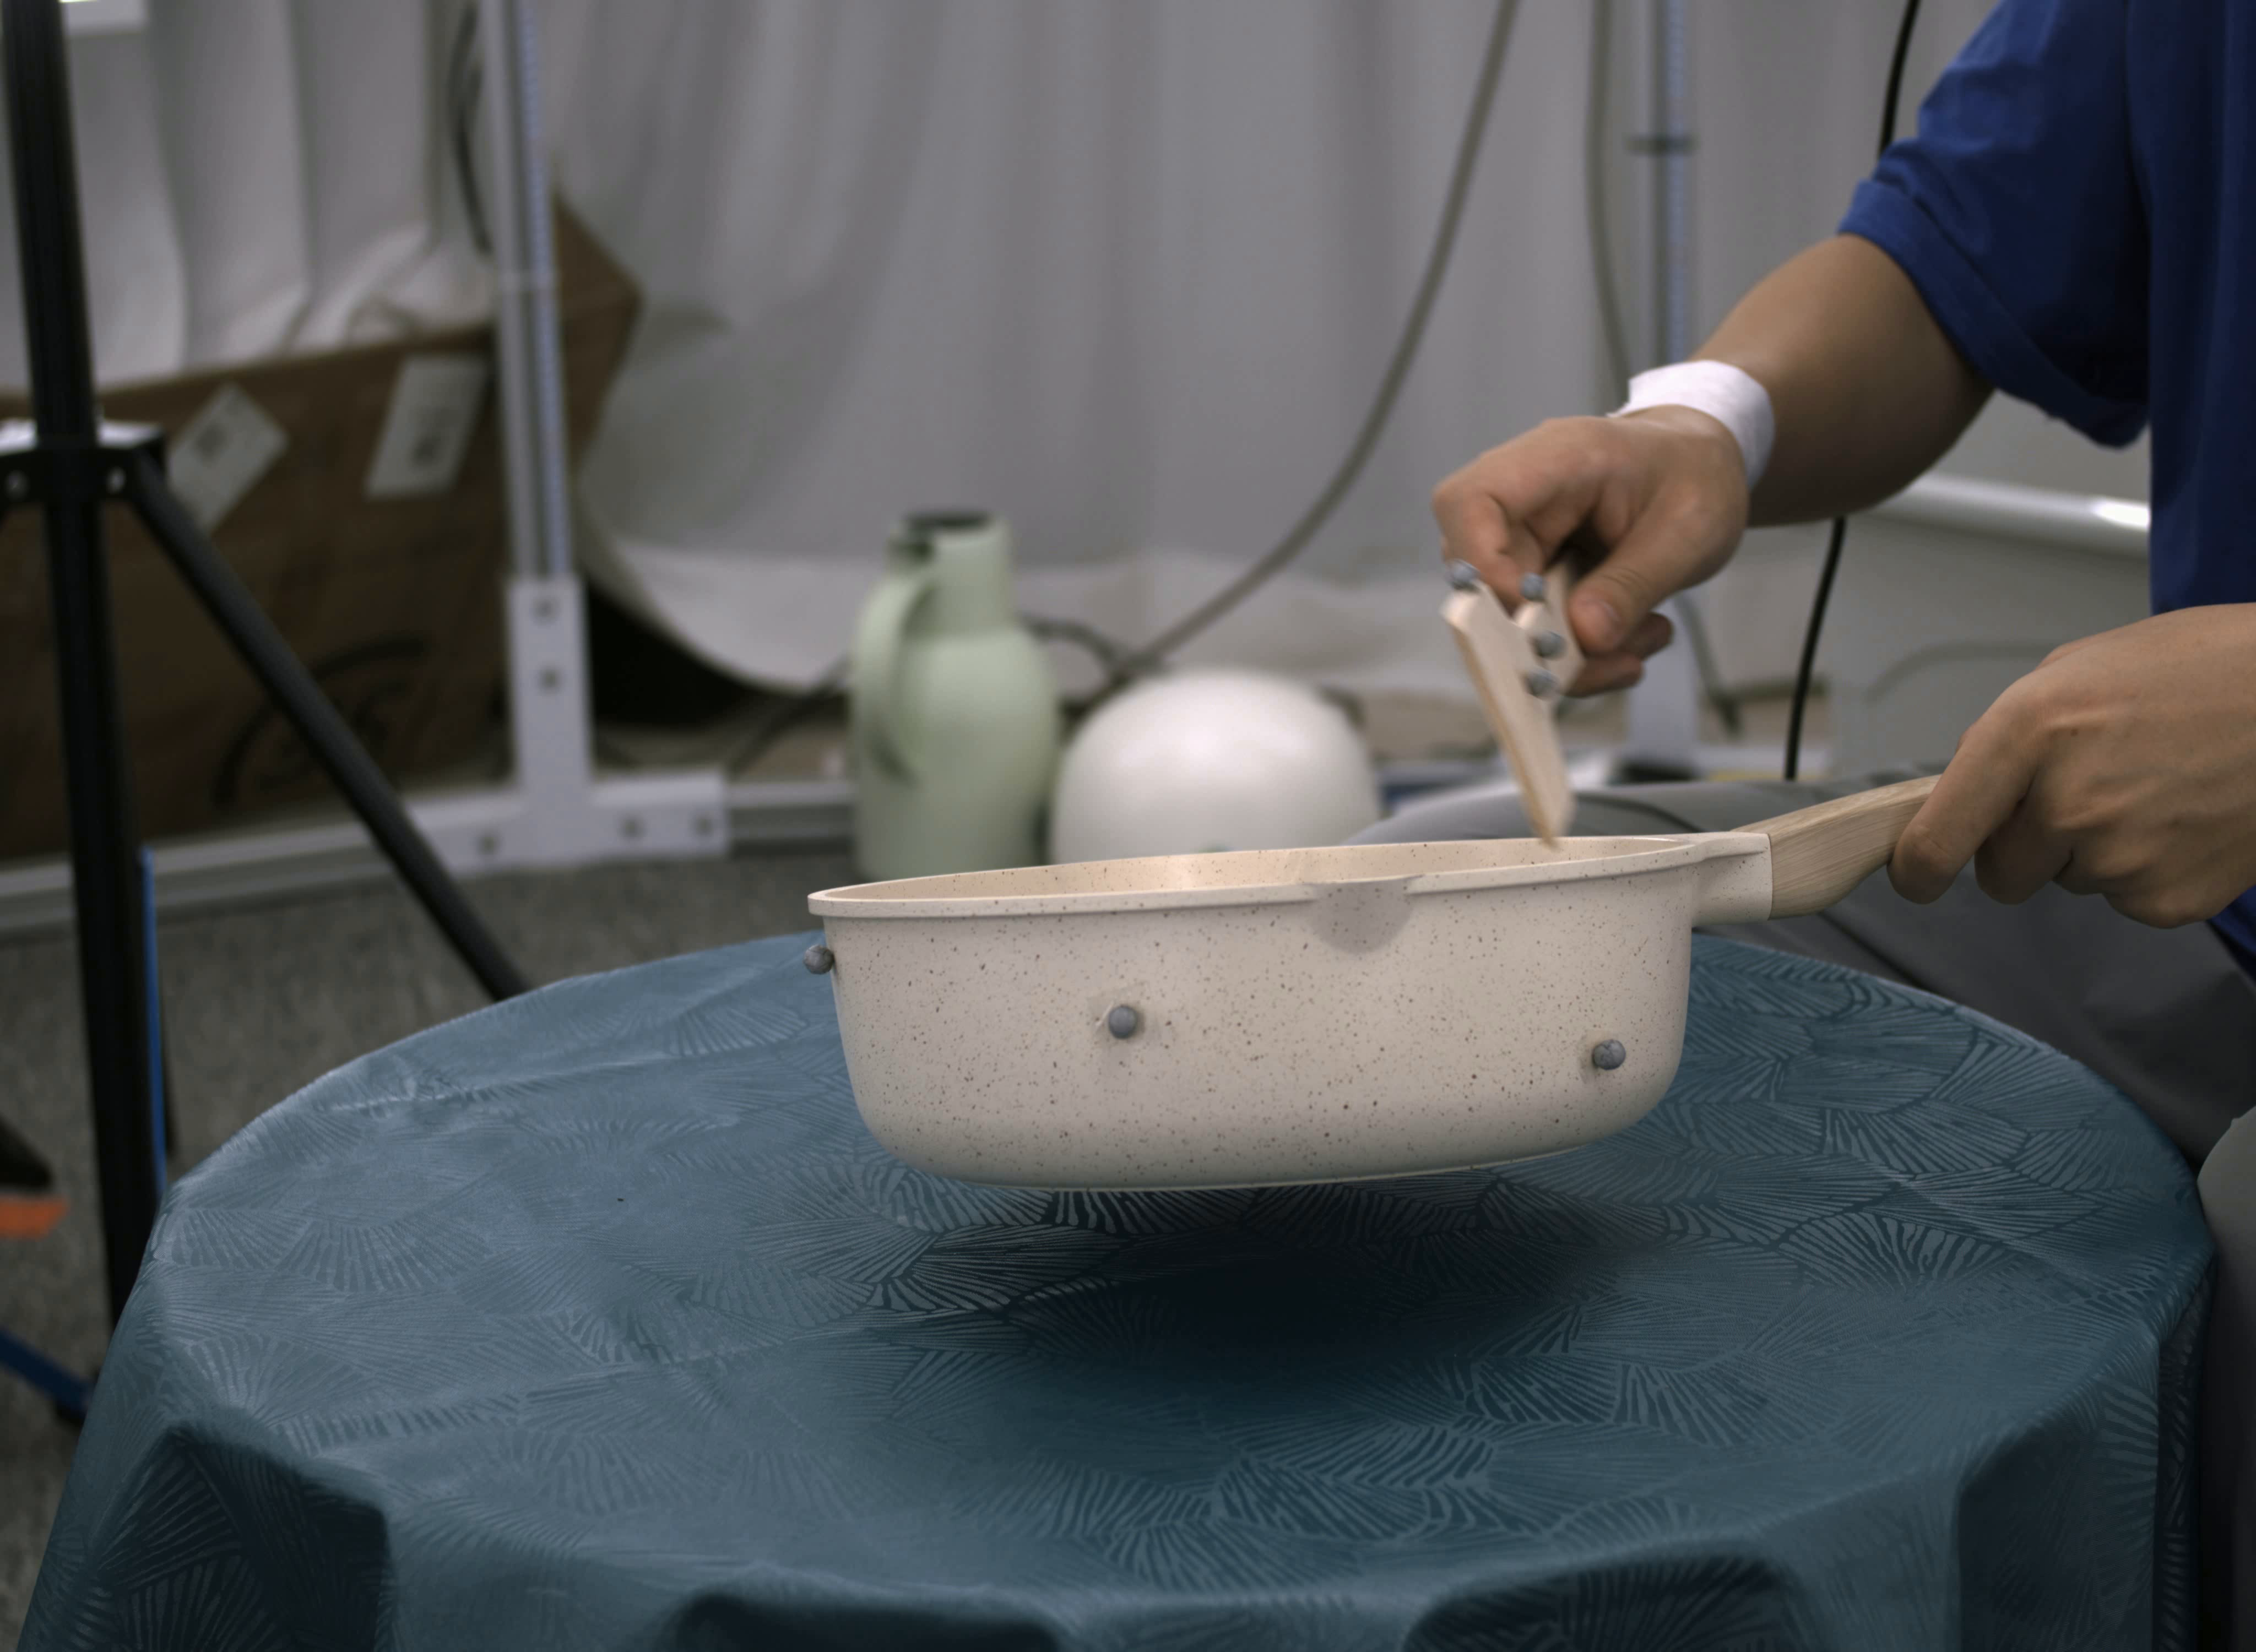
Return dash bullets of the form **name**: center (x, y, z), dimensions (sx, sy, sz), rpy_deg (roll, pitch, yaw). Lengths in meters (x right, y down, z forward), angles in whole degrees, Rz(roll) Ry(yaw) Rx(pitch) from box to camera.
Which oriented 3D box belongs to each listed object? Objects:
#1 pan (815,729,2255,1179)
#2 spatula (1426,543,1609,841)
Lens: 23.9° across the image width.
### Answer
- **pan**: center (0.129, 0.037, 1.492), dimensions (0.429, 0.102, 0.265), rpy_deg (-3, 0, -11)
- **spatula**: center (0.121, -0.054, 1.586), dimensions (0.011, 0.072, 0.291), rpy_deg (-23, 6, 14)
